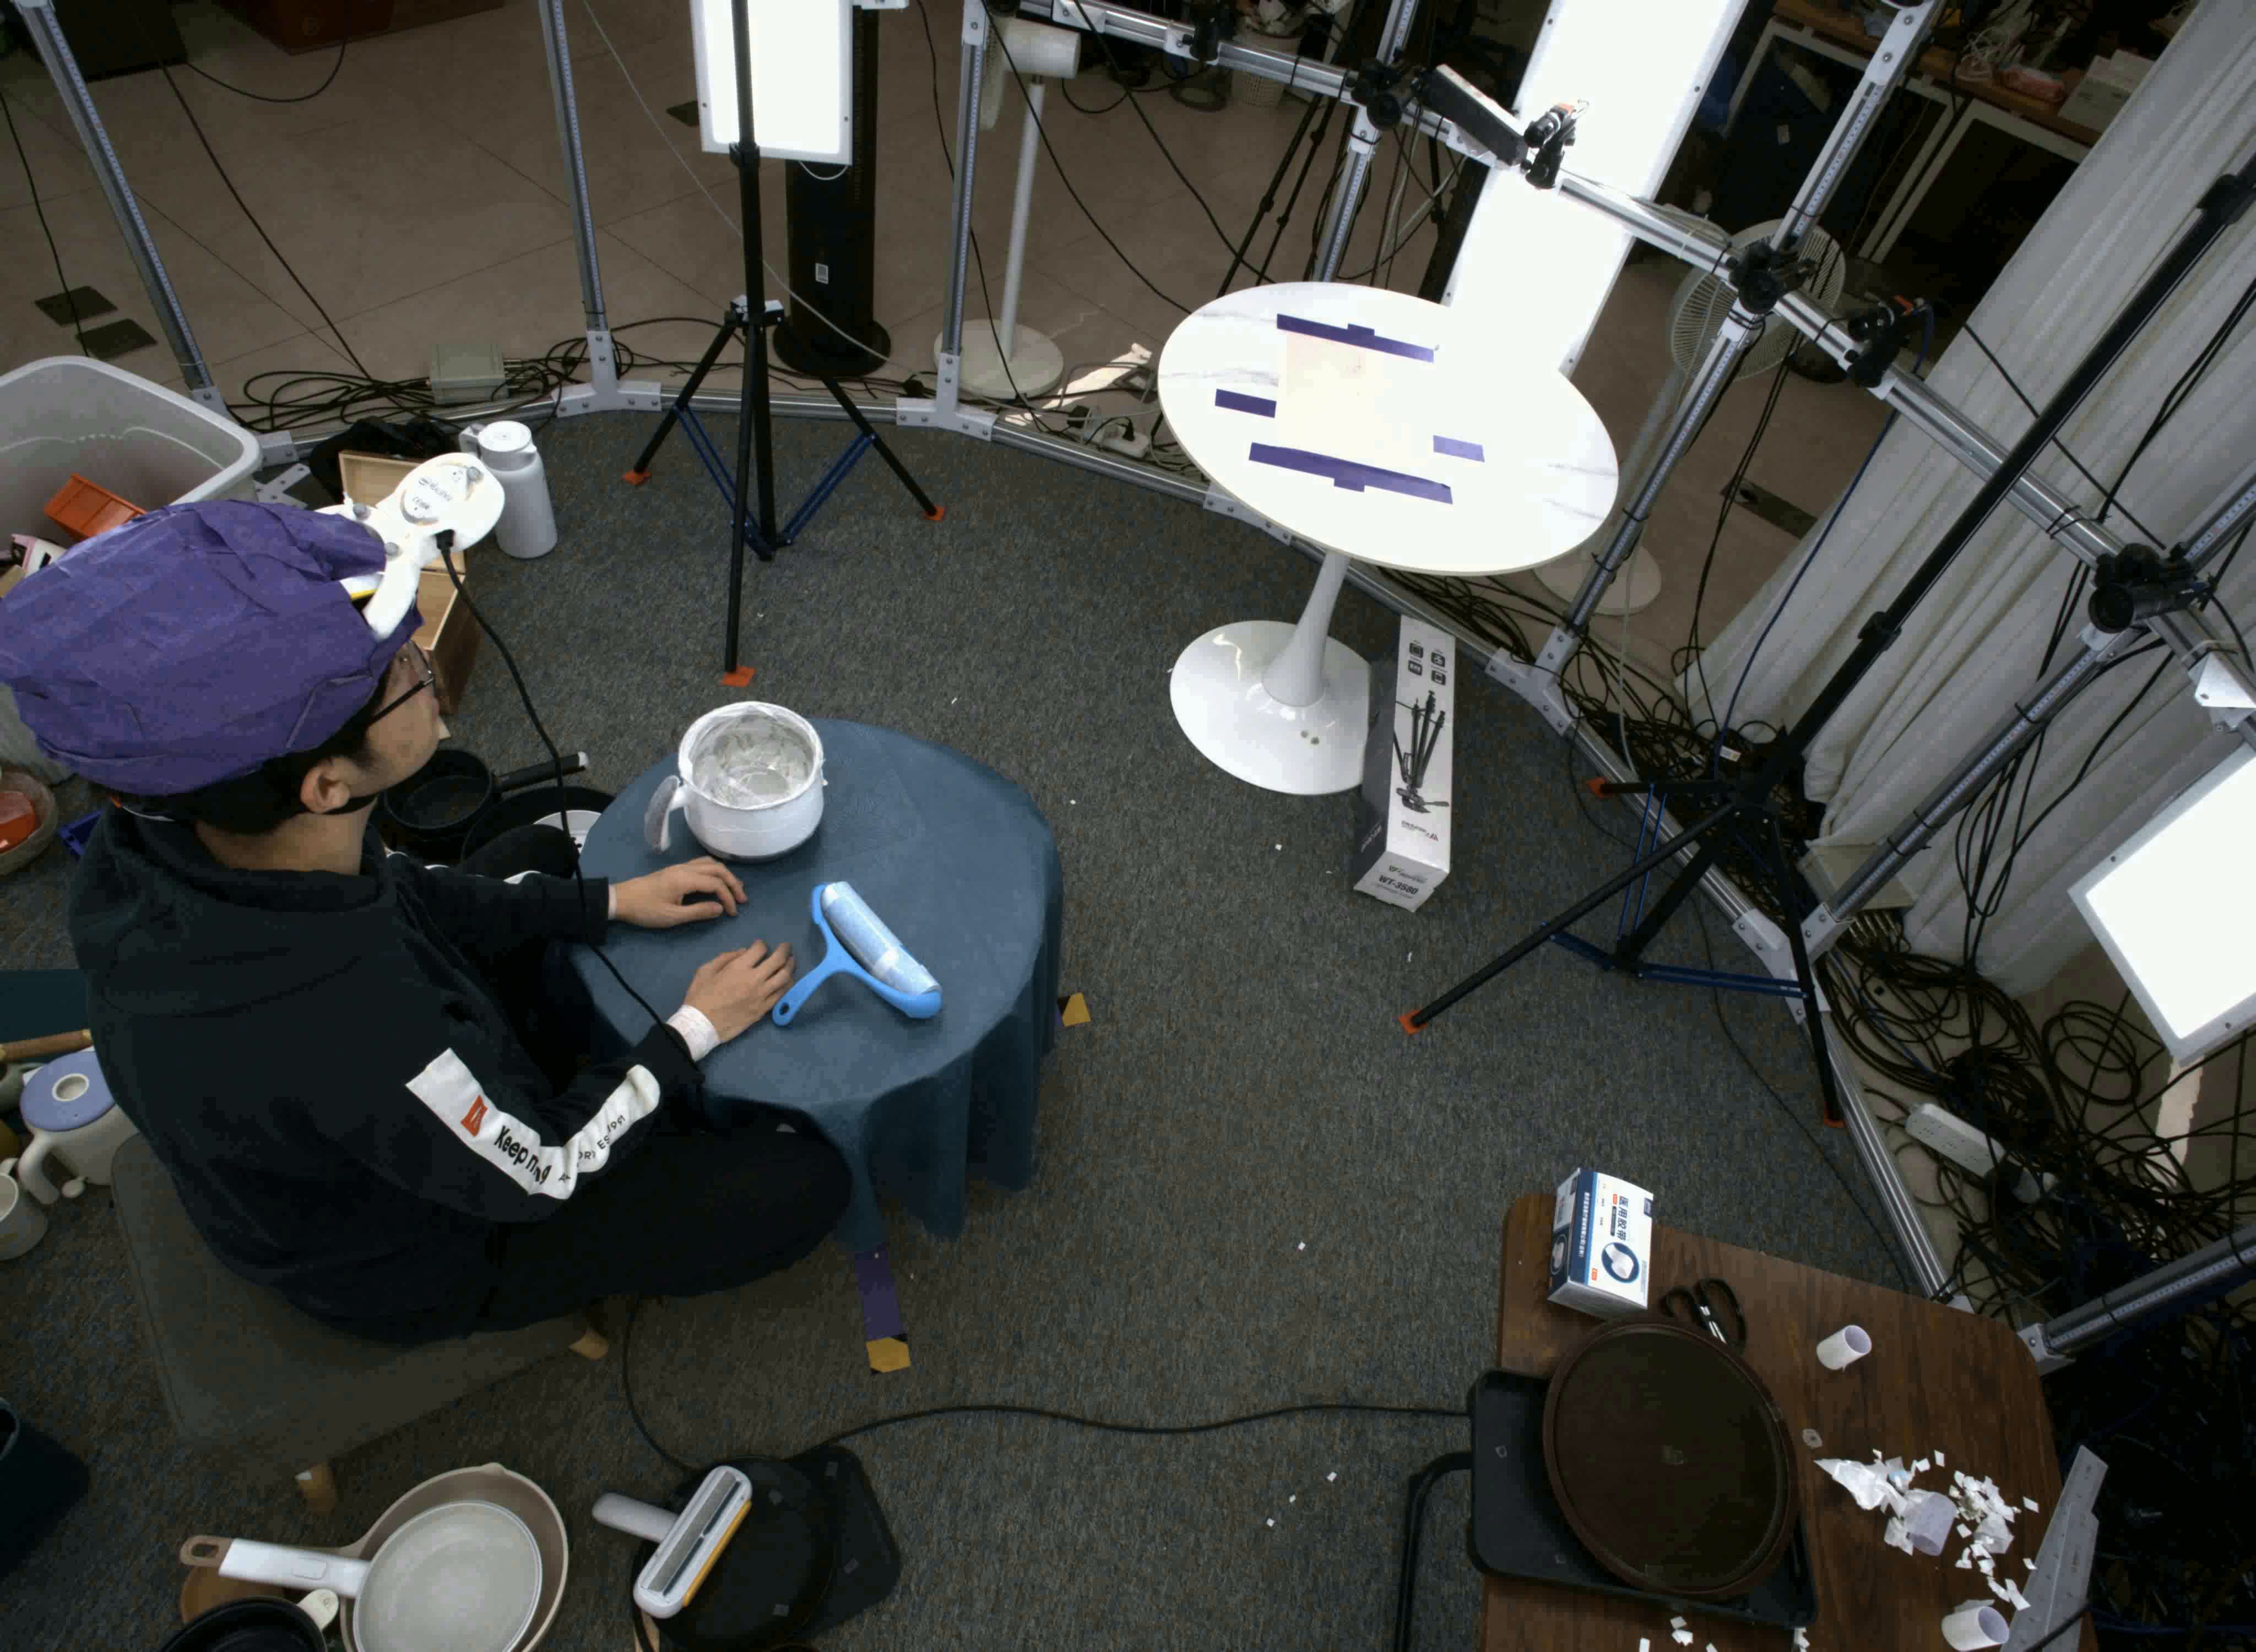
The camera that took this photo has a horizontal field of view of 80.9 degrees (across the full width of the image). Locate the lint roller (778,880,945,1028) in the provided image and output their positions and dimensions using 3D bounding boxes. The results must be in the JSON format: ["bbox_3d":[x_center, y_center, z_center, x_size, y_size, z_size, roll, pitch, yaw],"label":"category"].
[{"bbox_3d":[-0.349,0.177,1.583,0.224,0.069,0.180,42,54,14],"label":"lint roller"}]

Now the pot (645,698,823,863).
[{"bbox_3d":[-0.505,-0.045,1.650,0.235,0.139,0.174,-23,62,-29],"label":"pot"}]
